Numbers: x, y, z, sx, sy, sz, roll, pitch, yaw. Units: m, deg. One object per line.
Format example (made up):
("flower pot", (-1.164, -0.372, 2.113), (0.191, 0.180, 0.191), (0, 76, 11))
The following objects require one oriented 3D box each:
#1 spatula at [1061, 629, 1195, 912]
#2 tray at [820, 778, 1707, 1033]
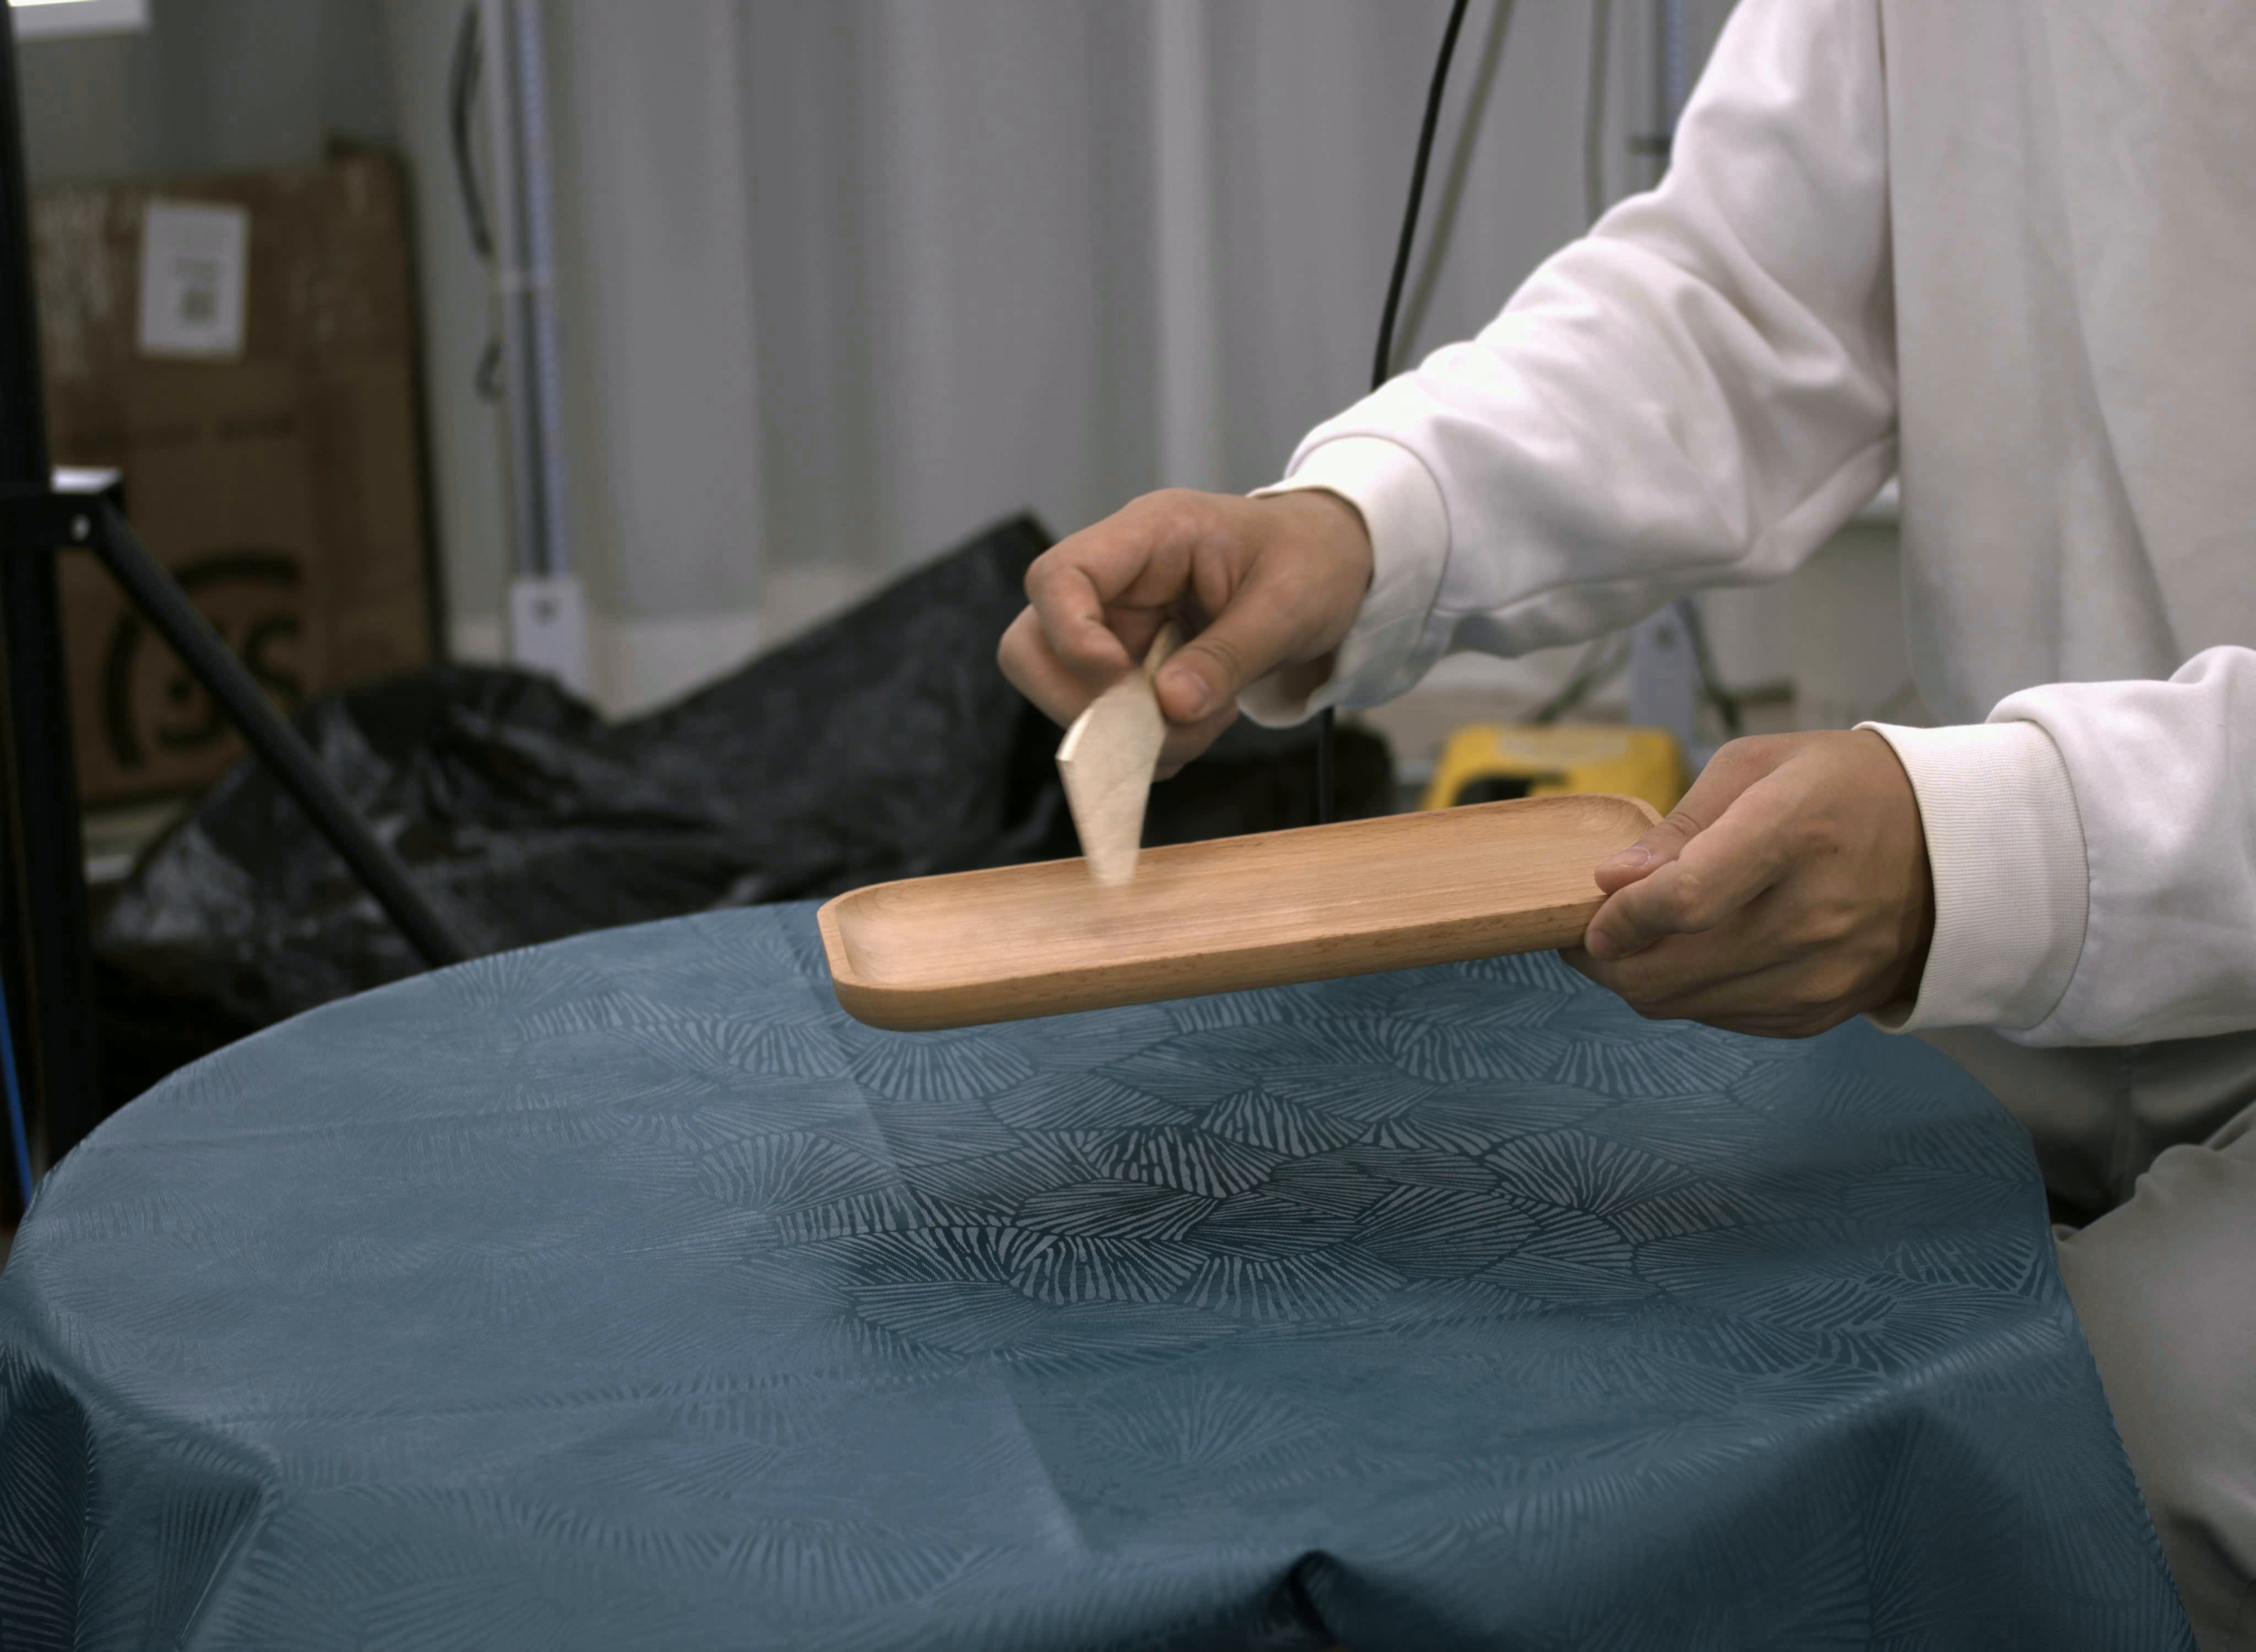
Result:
("spatula", (0.003, -0.025, 1.604), (0.005, 0.050, 0.207), (-11, 14, 12))
("tray", (0.037, 0.023, 1.534), (0.249, 0.023, 0.131), (-7, 17, -3))
